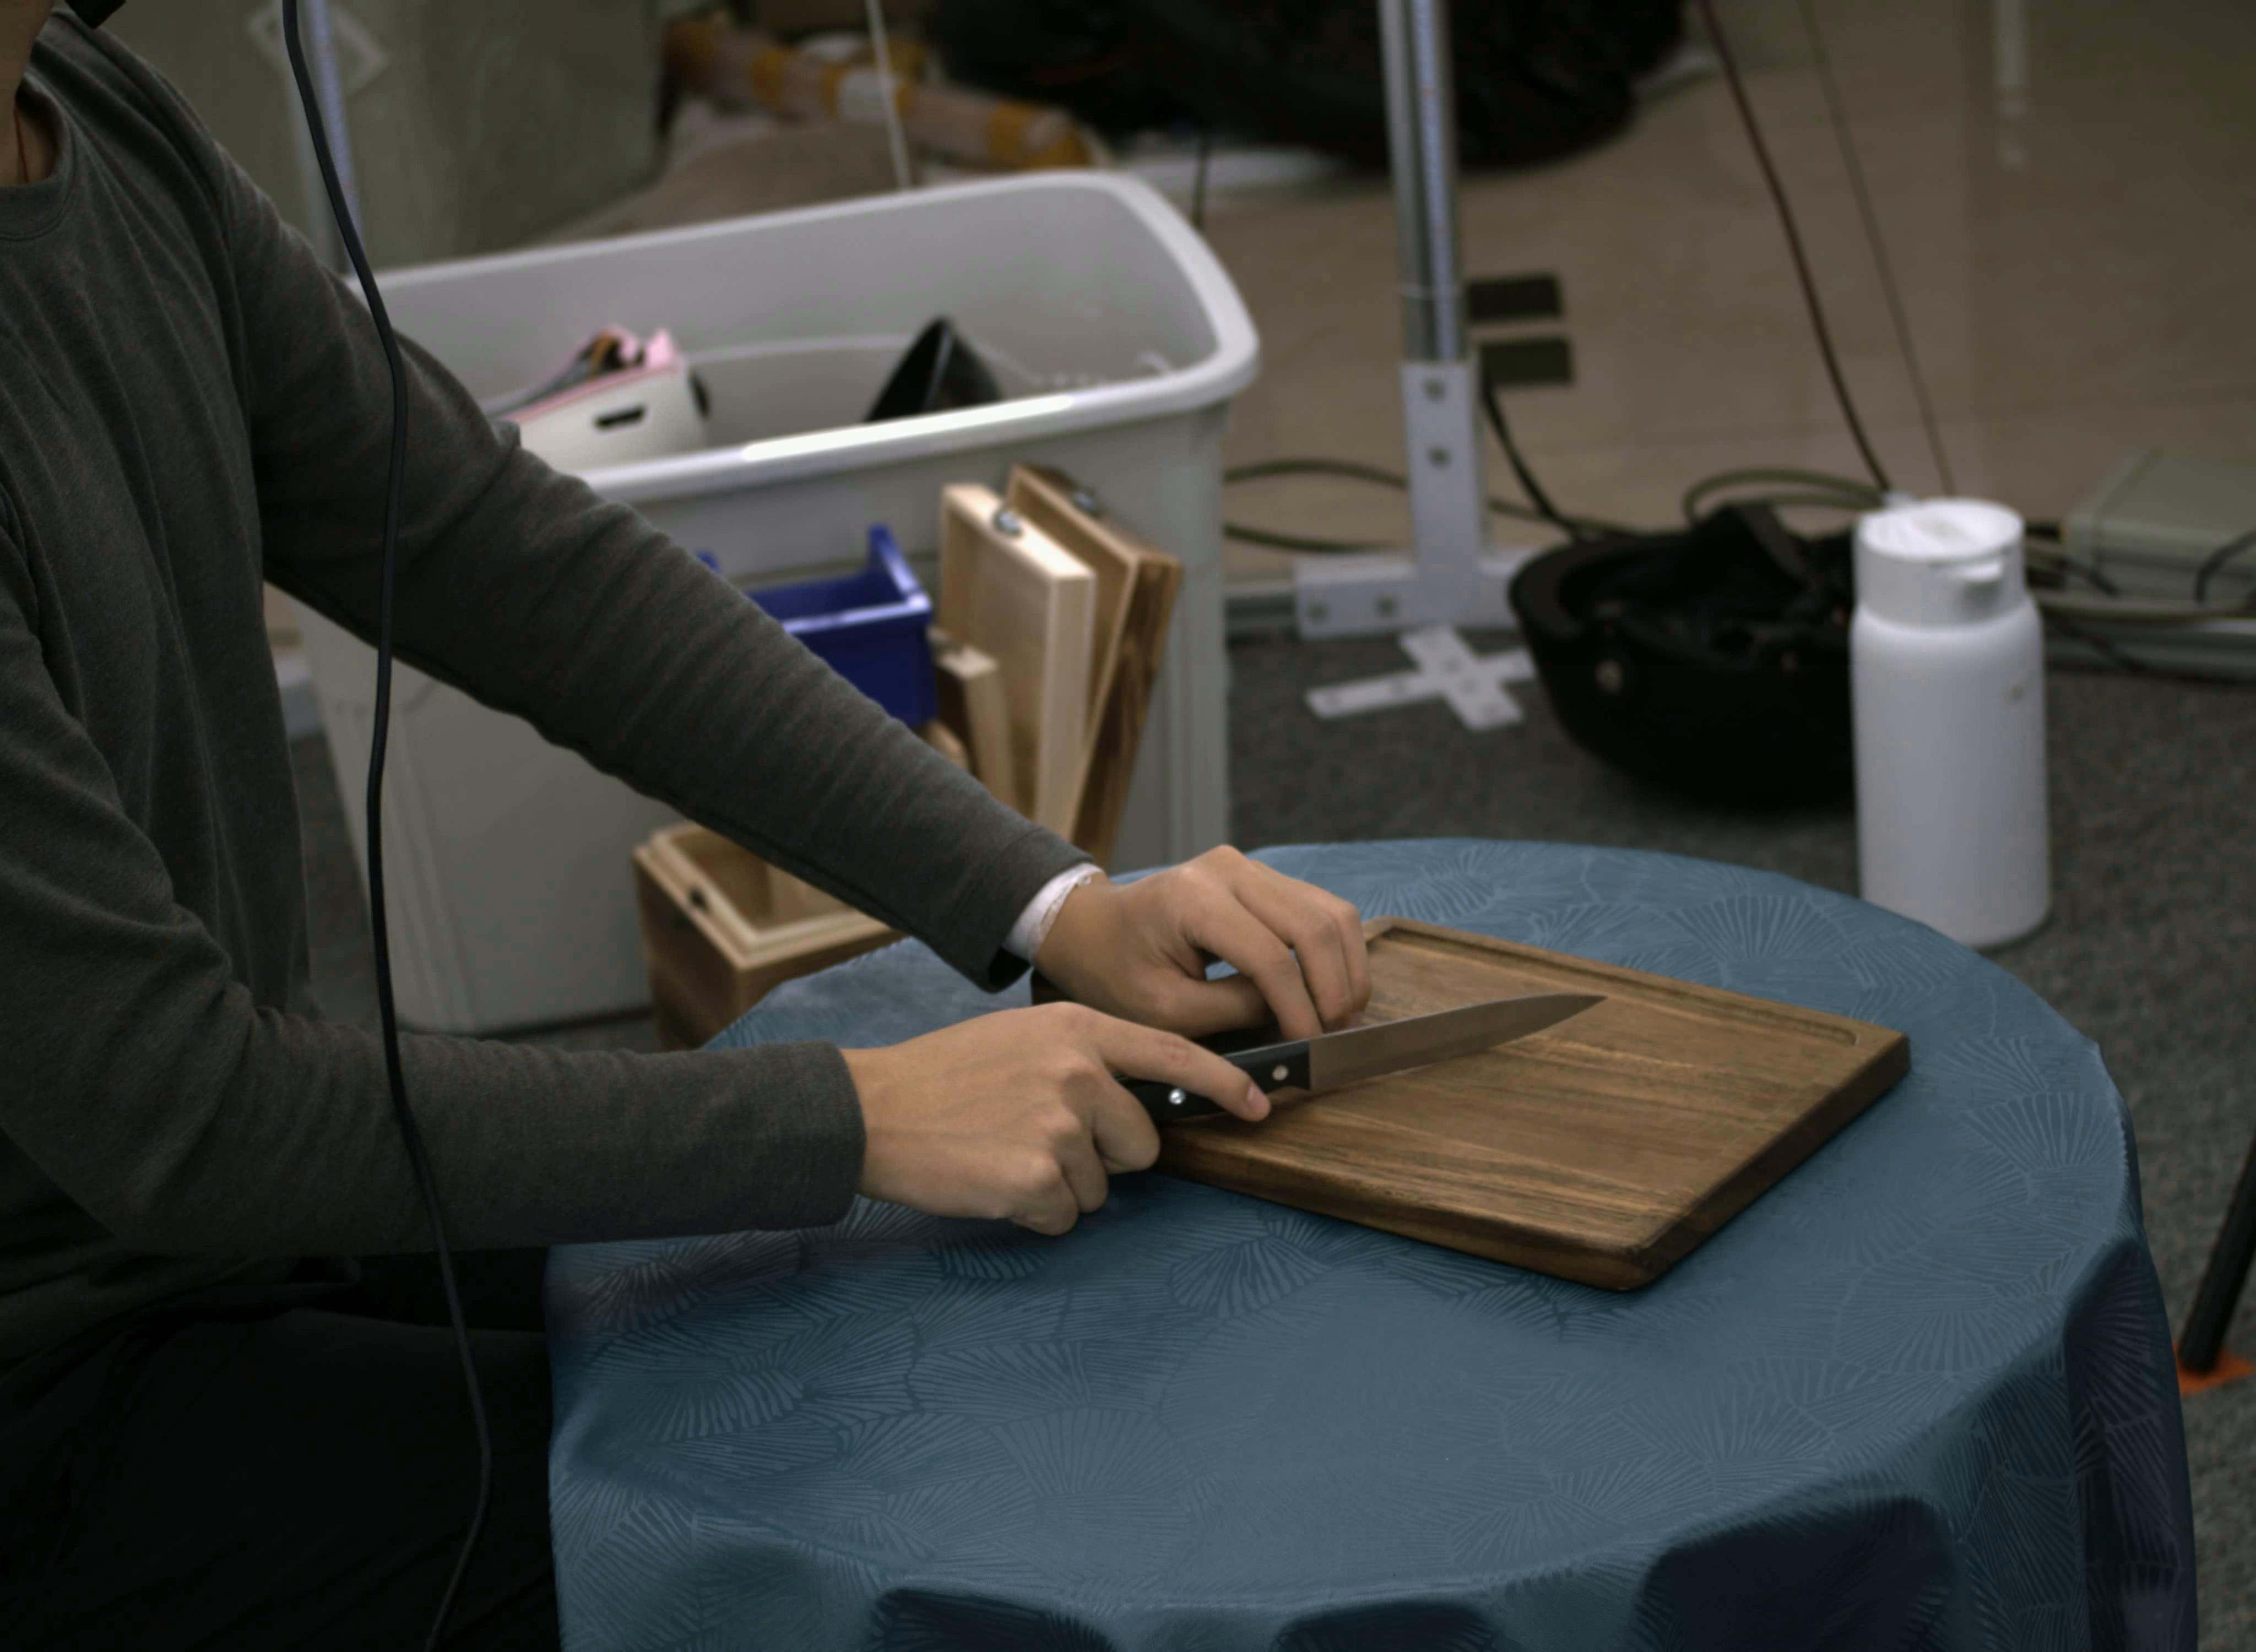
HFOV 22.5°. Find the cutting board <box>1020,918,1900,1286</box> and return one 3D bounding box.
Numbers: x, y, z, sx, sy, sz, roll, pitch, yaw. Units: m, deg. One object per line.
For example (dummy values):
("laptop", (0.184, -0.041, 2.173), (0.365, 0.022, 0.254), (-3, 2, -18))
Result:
("cutting board", (0.102, 0.093, 2.201), (0.350, 0.023, 0.199), (12, 30, 36))

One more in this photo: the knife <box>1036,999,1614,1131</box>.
("knife", (0.077, 0.086, 2.169), (0.237, 0.025, 0.016), (-10, 21, -18))
